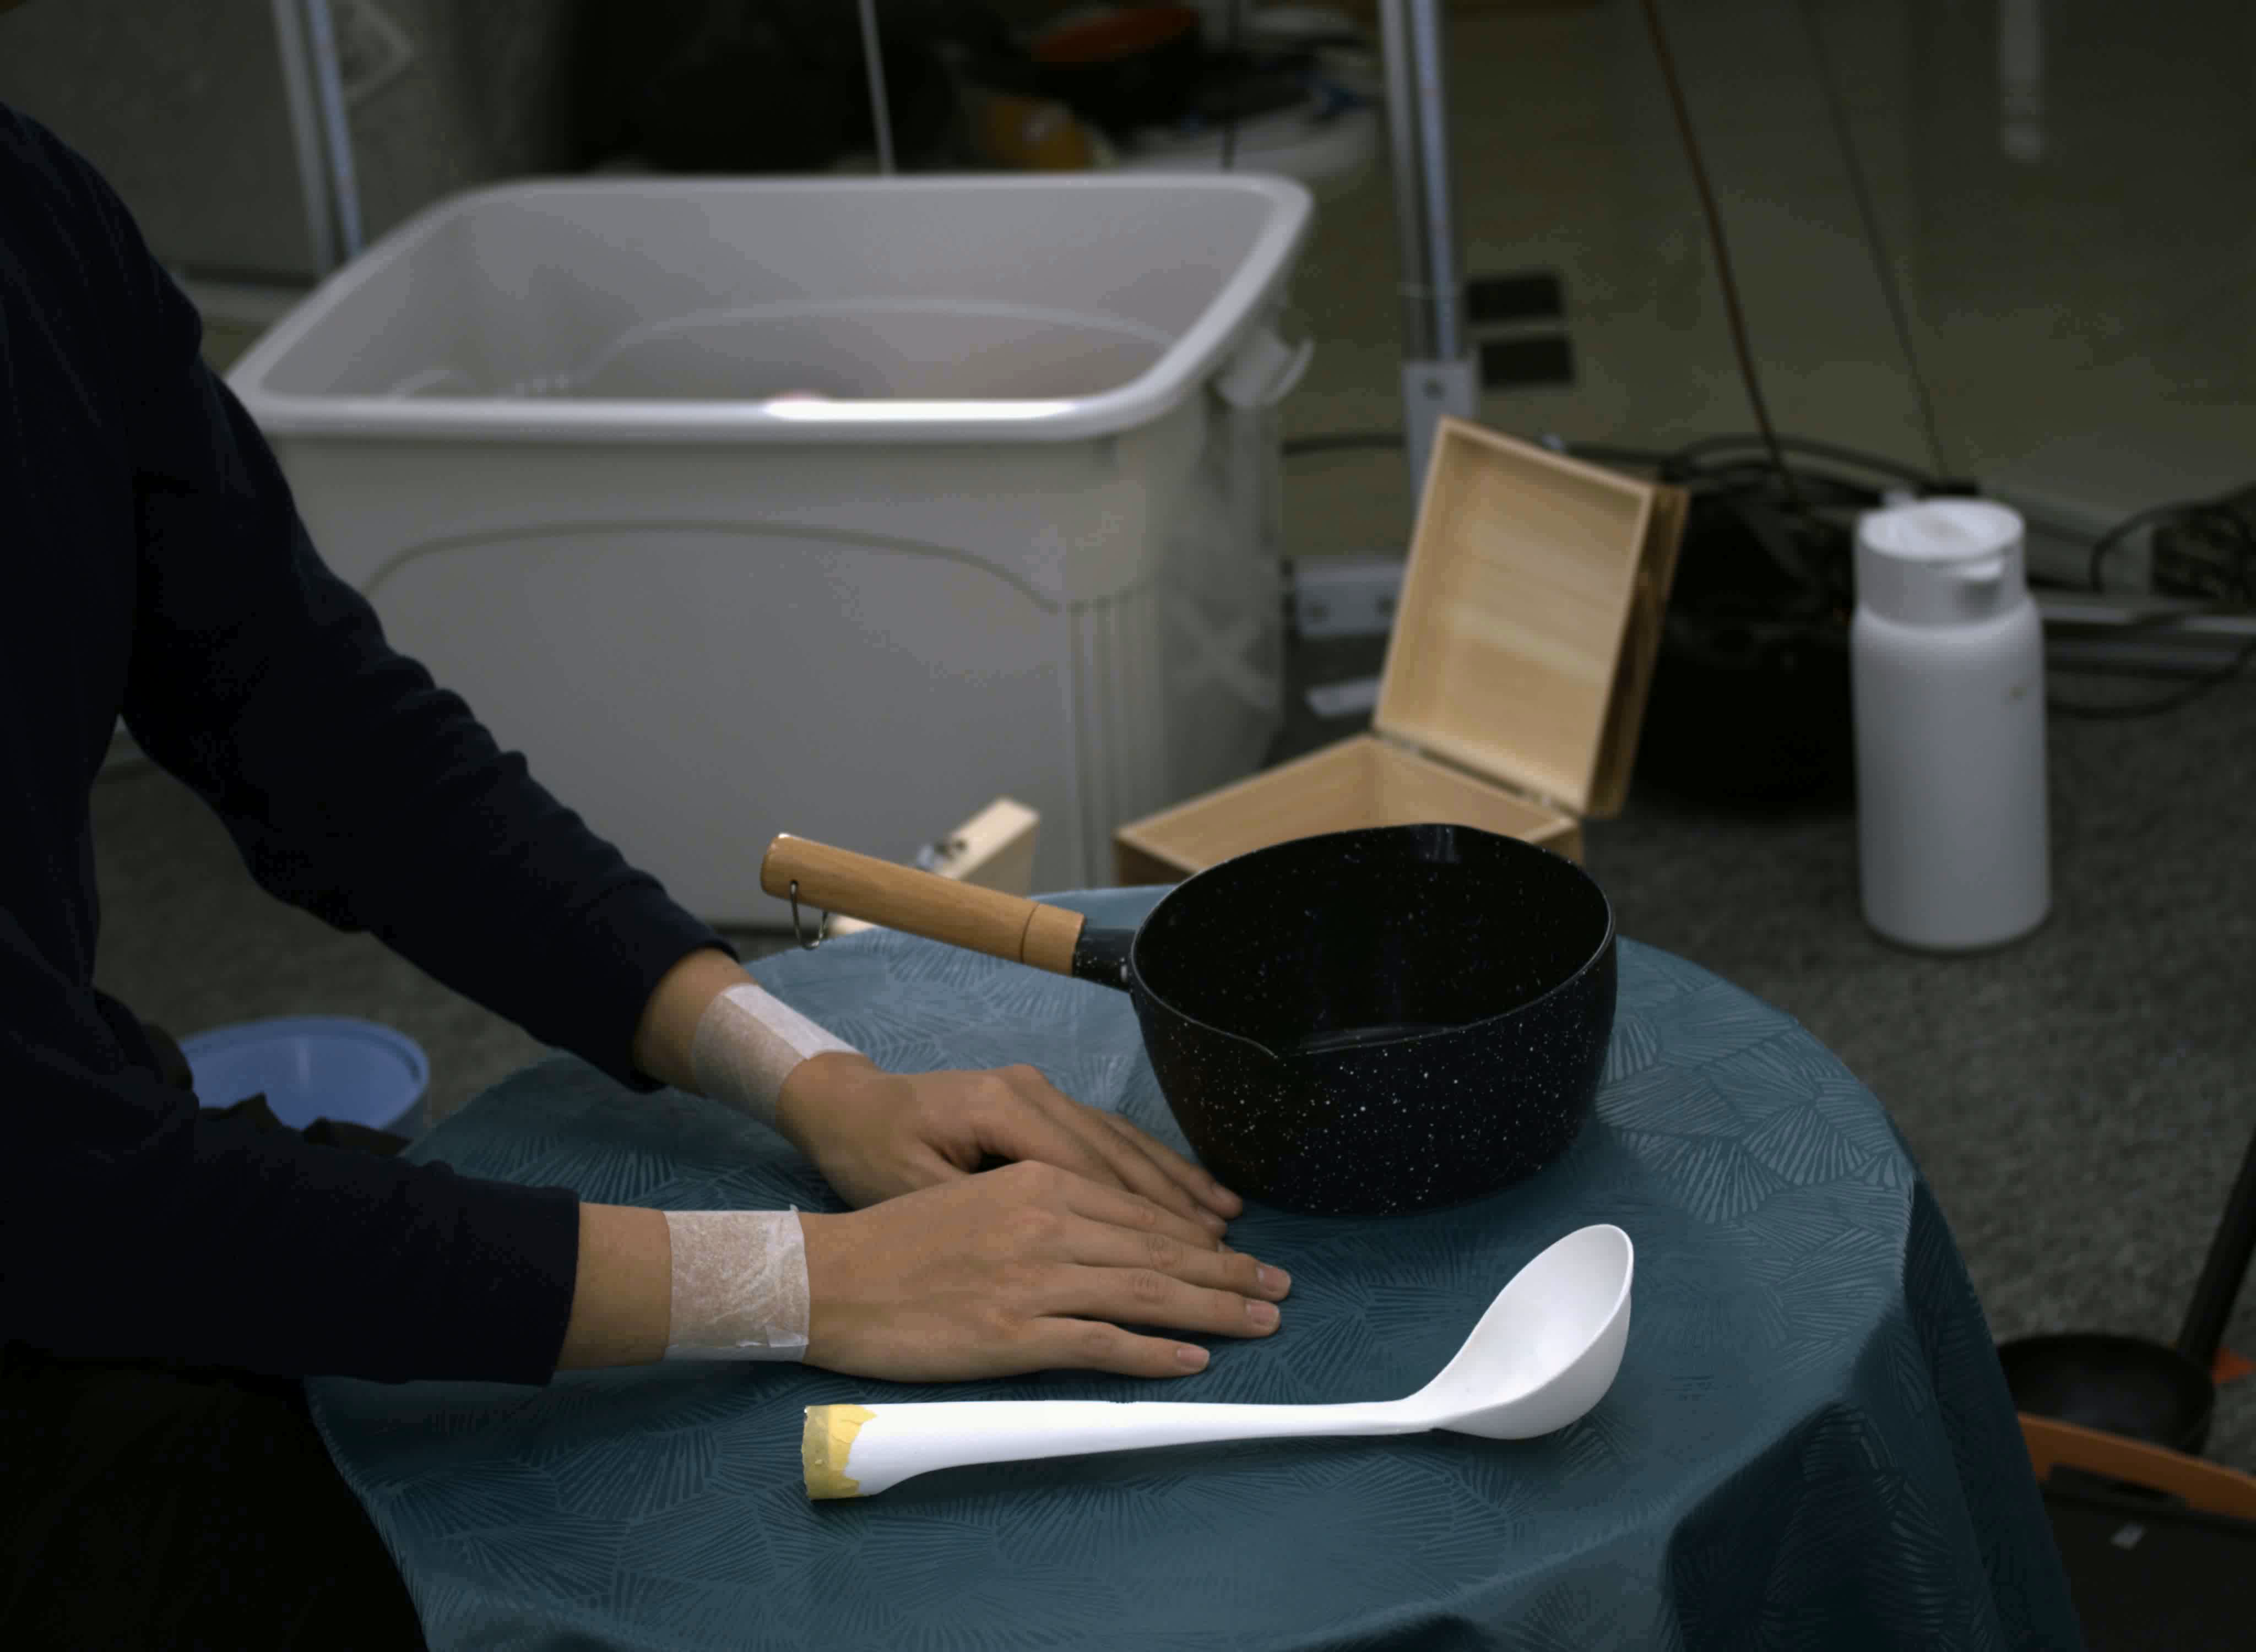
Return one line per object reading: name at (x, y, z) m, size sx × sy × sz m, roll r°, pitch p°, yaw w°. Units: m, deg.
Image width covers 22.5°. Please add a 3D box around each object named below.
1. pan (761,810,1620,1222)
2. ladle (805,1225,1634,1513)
pan at (0.020, 0.063, 2.175) m, size 0.342 × 0.110 × 0.204 m, roll 4°, pitch 28°, yaw 19°
ladle at (0.031, 0.192, 1.950) m, size 0.292 × 0.071 × 0.088 m, roll -6°, pitch 31°, yaw 4°
